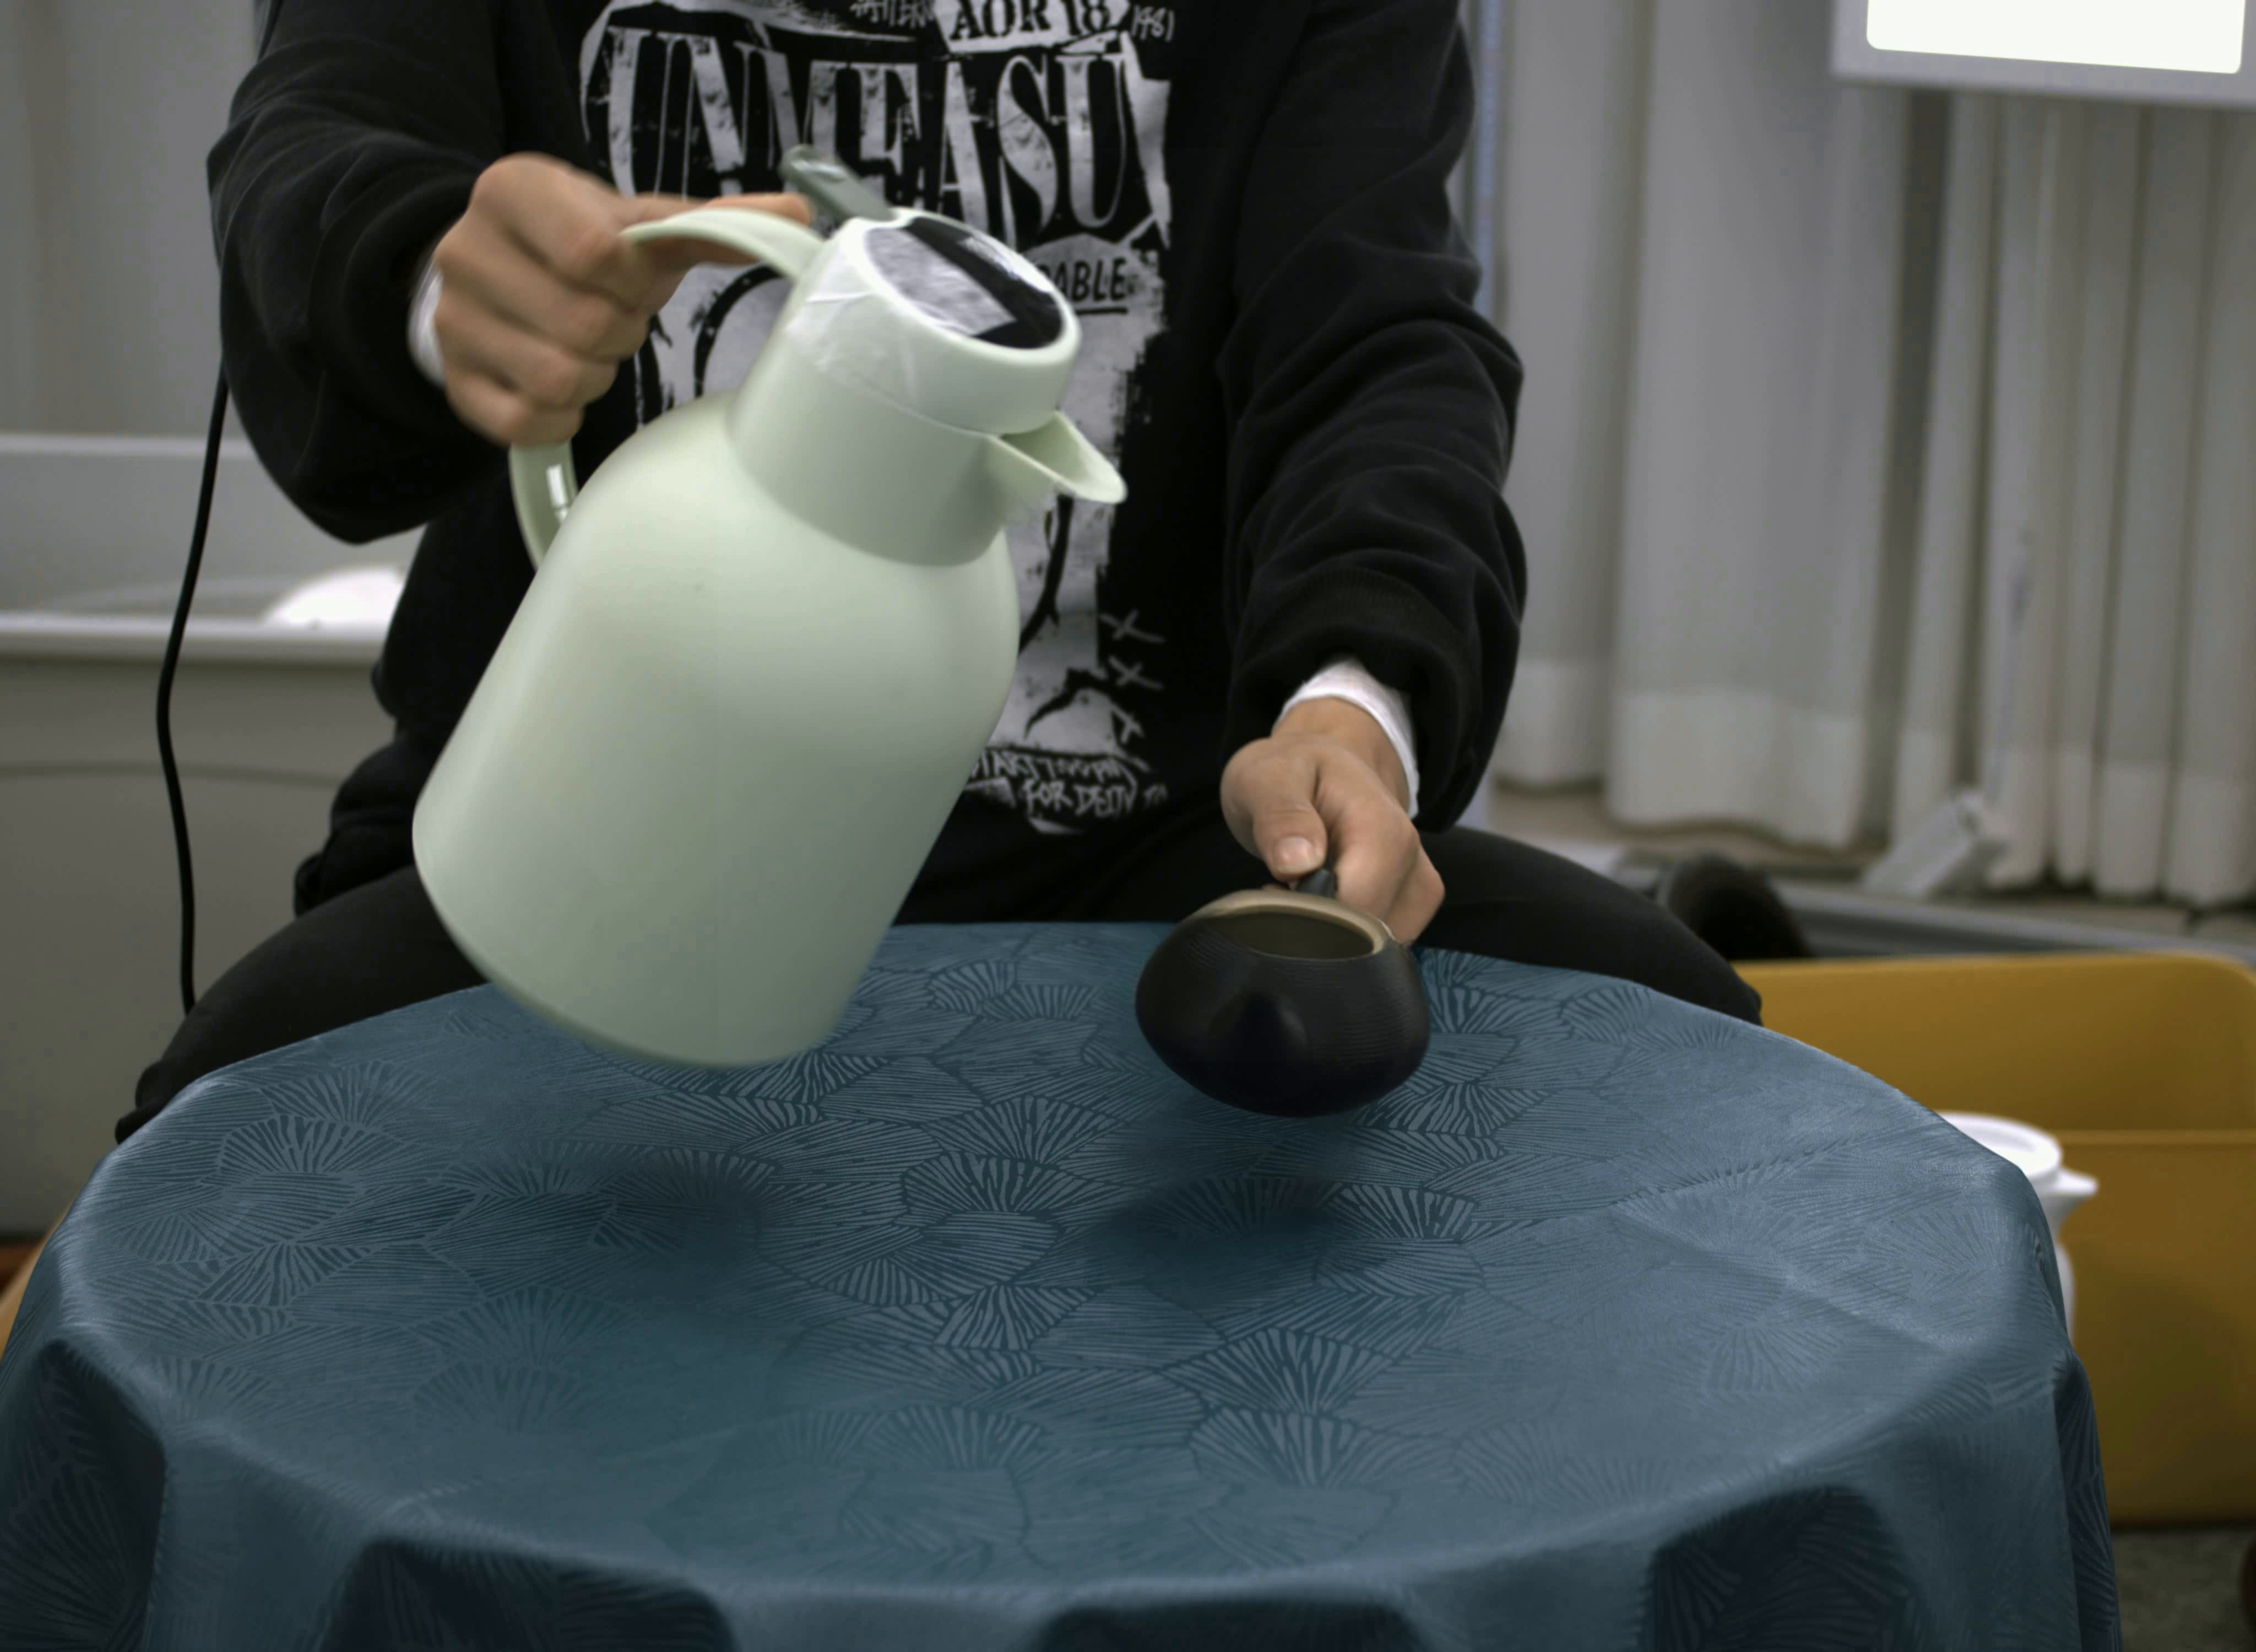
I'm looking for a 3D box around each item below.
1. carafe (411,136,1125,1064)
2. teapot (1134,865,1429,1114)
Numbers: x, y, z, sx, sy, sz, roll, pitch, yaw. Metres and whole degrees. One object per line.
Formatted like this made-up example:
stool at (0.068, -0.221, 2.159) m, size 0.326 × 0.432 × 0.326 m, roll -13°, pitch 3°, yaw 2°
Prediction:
carafe at (-0.113, -0.072, 1.550) m, size 0.185 × 0.258 × 0.144 m, roll 37°, pitch 30°, yaw 15°
teapot at (0.047, 0.053, 1.602) m, size 0.090 × 0.053 × 0.133 m, roll 12°, pitch 21°, yaw 7°
